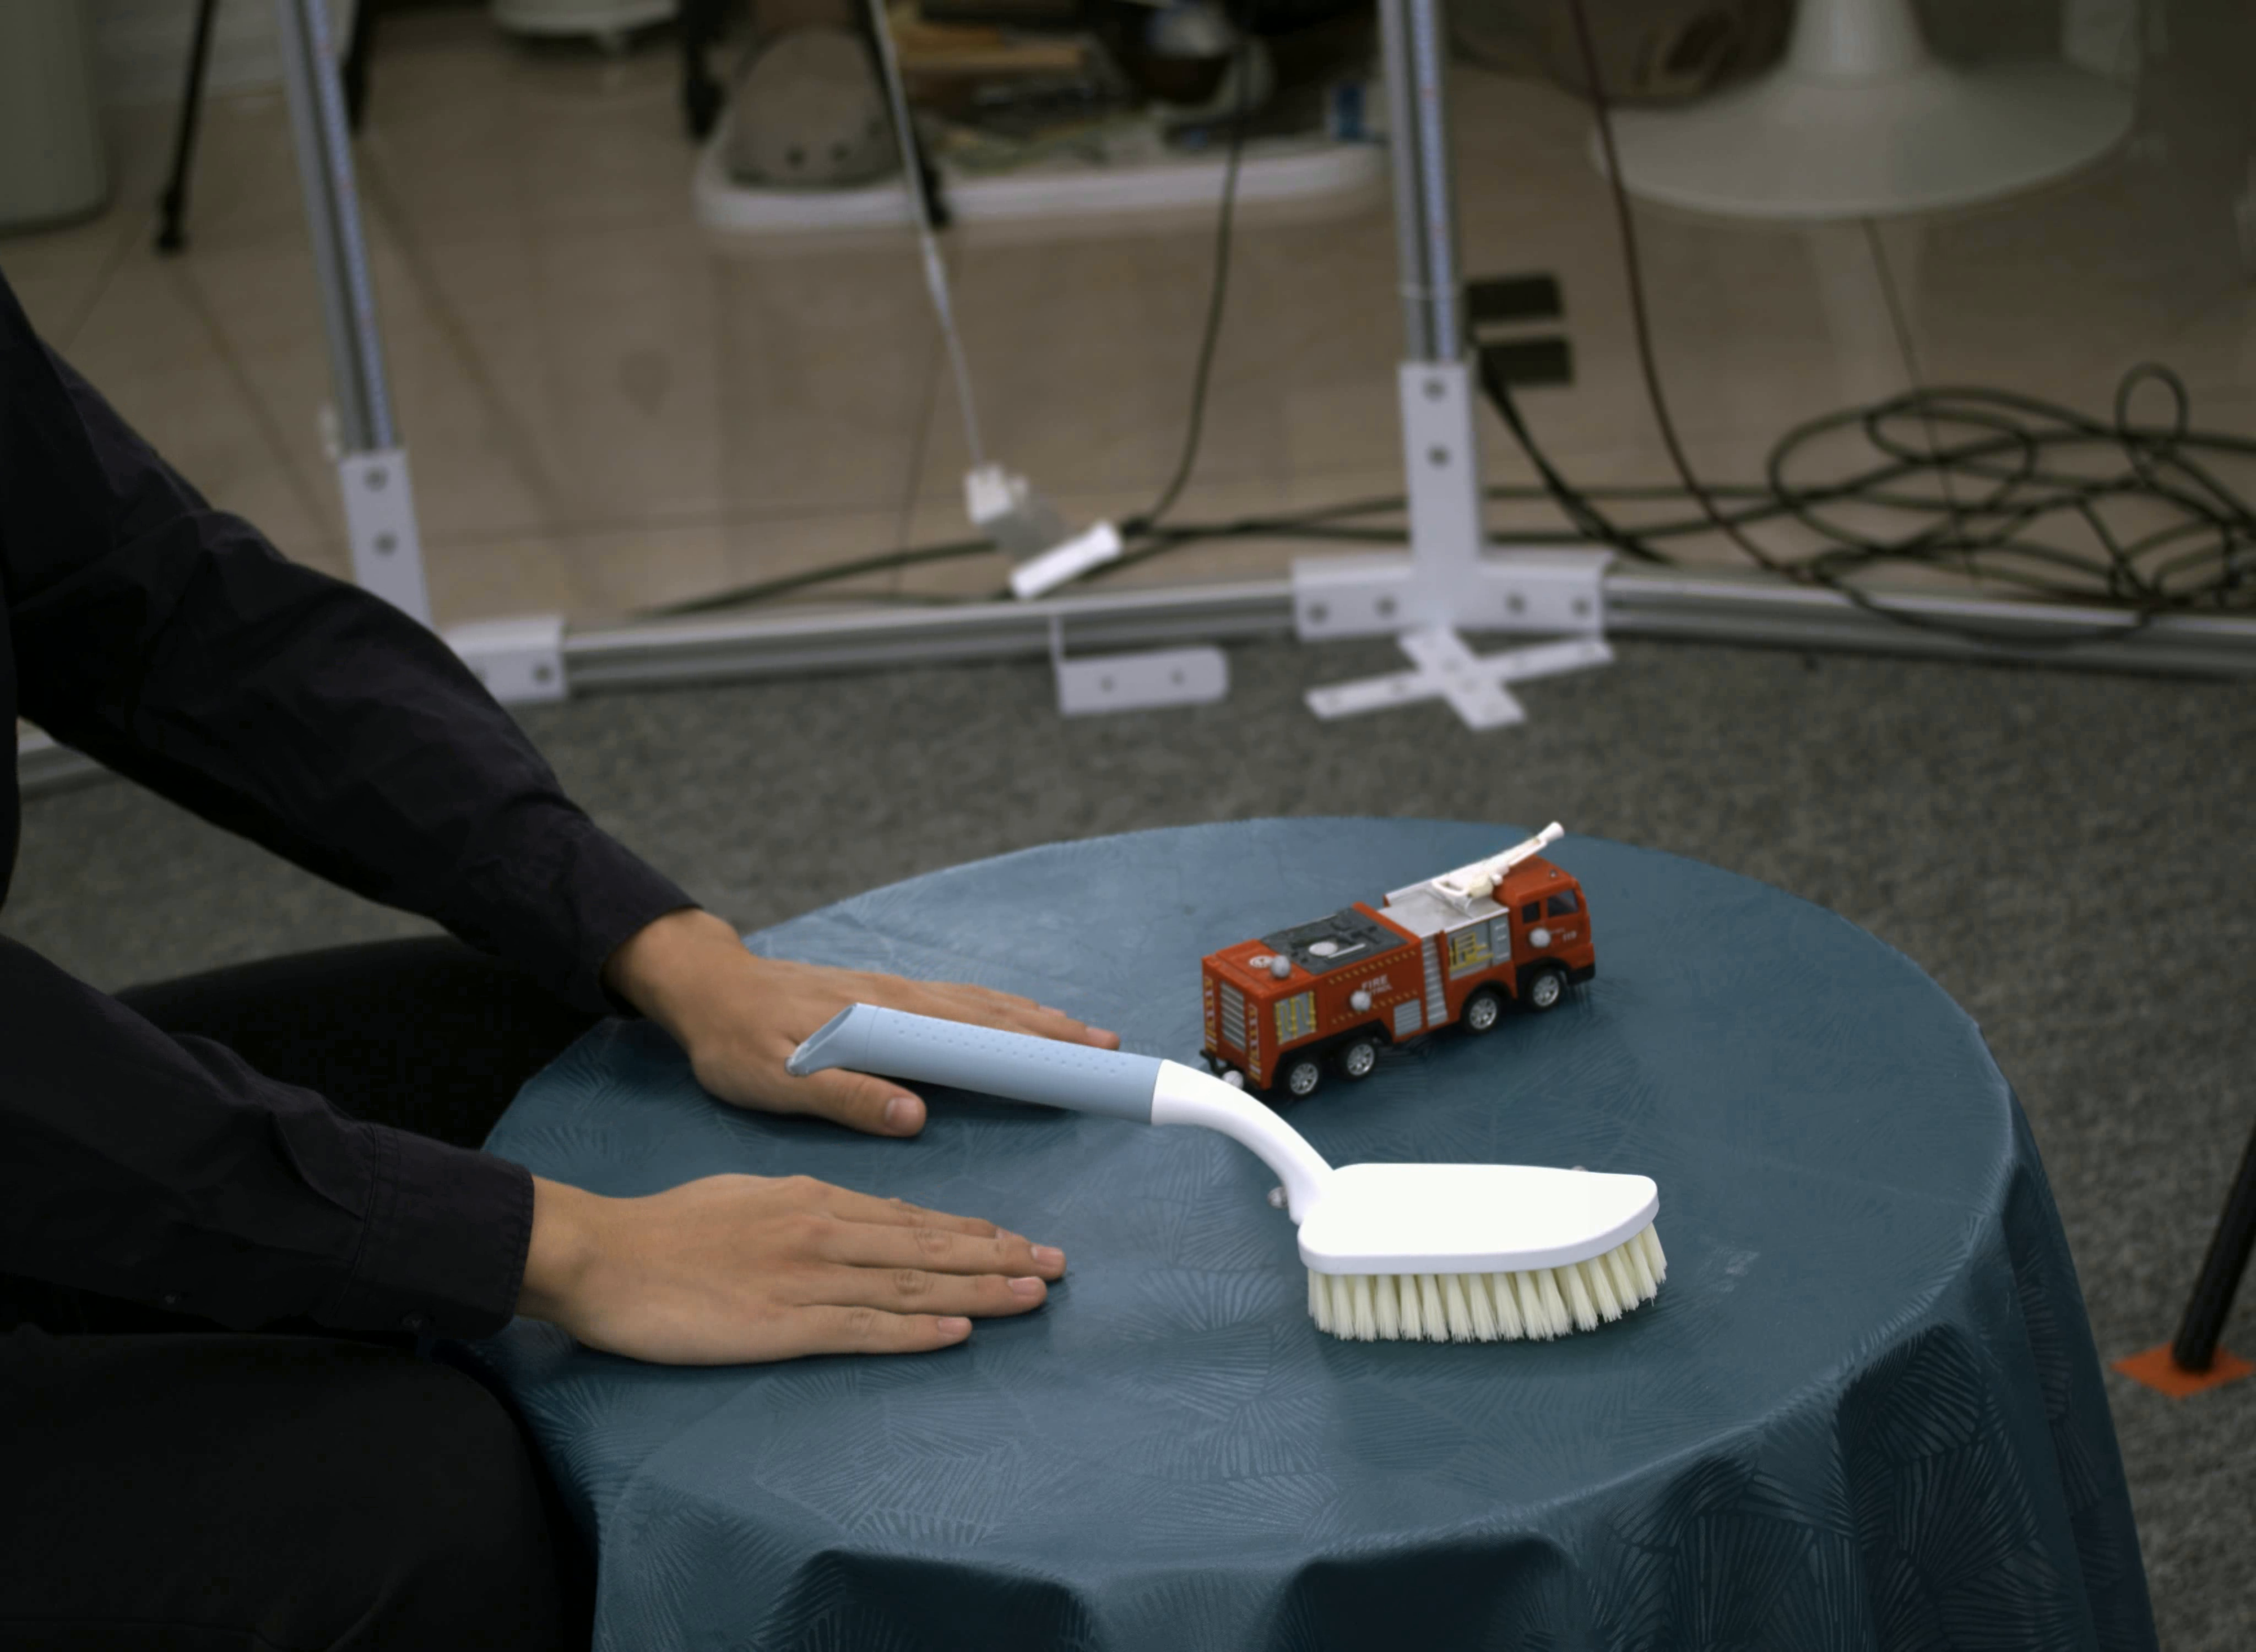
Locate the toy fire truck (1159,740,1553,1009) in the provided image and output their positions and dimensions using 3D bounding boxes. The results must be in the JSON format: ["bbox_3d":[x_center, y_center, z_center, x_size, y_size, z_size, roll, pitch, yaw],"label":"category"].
[{"bbox_3d":[0.092,0.022,2.249,0.167,0.071,0.053,-20,29,-25],"label":"toy fire truck"}]

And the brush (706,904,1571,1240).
[{"bbox_3d":[0.001,0.100,2.079,0.324,0.084,0.083,11,-9,8],"label":"brush"}]
